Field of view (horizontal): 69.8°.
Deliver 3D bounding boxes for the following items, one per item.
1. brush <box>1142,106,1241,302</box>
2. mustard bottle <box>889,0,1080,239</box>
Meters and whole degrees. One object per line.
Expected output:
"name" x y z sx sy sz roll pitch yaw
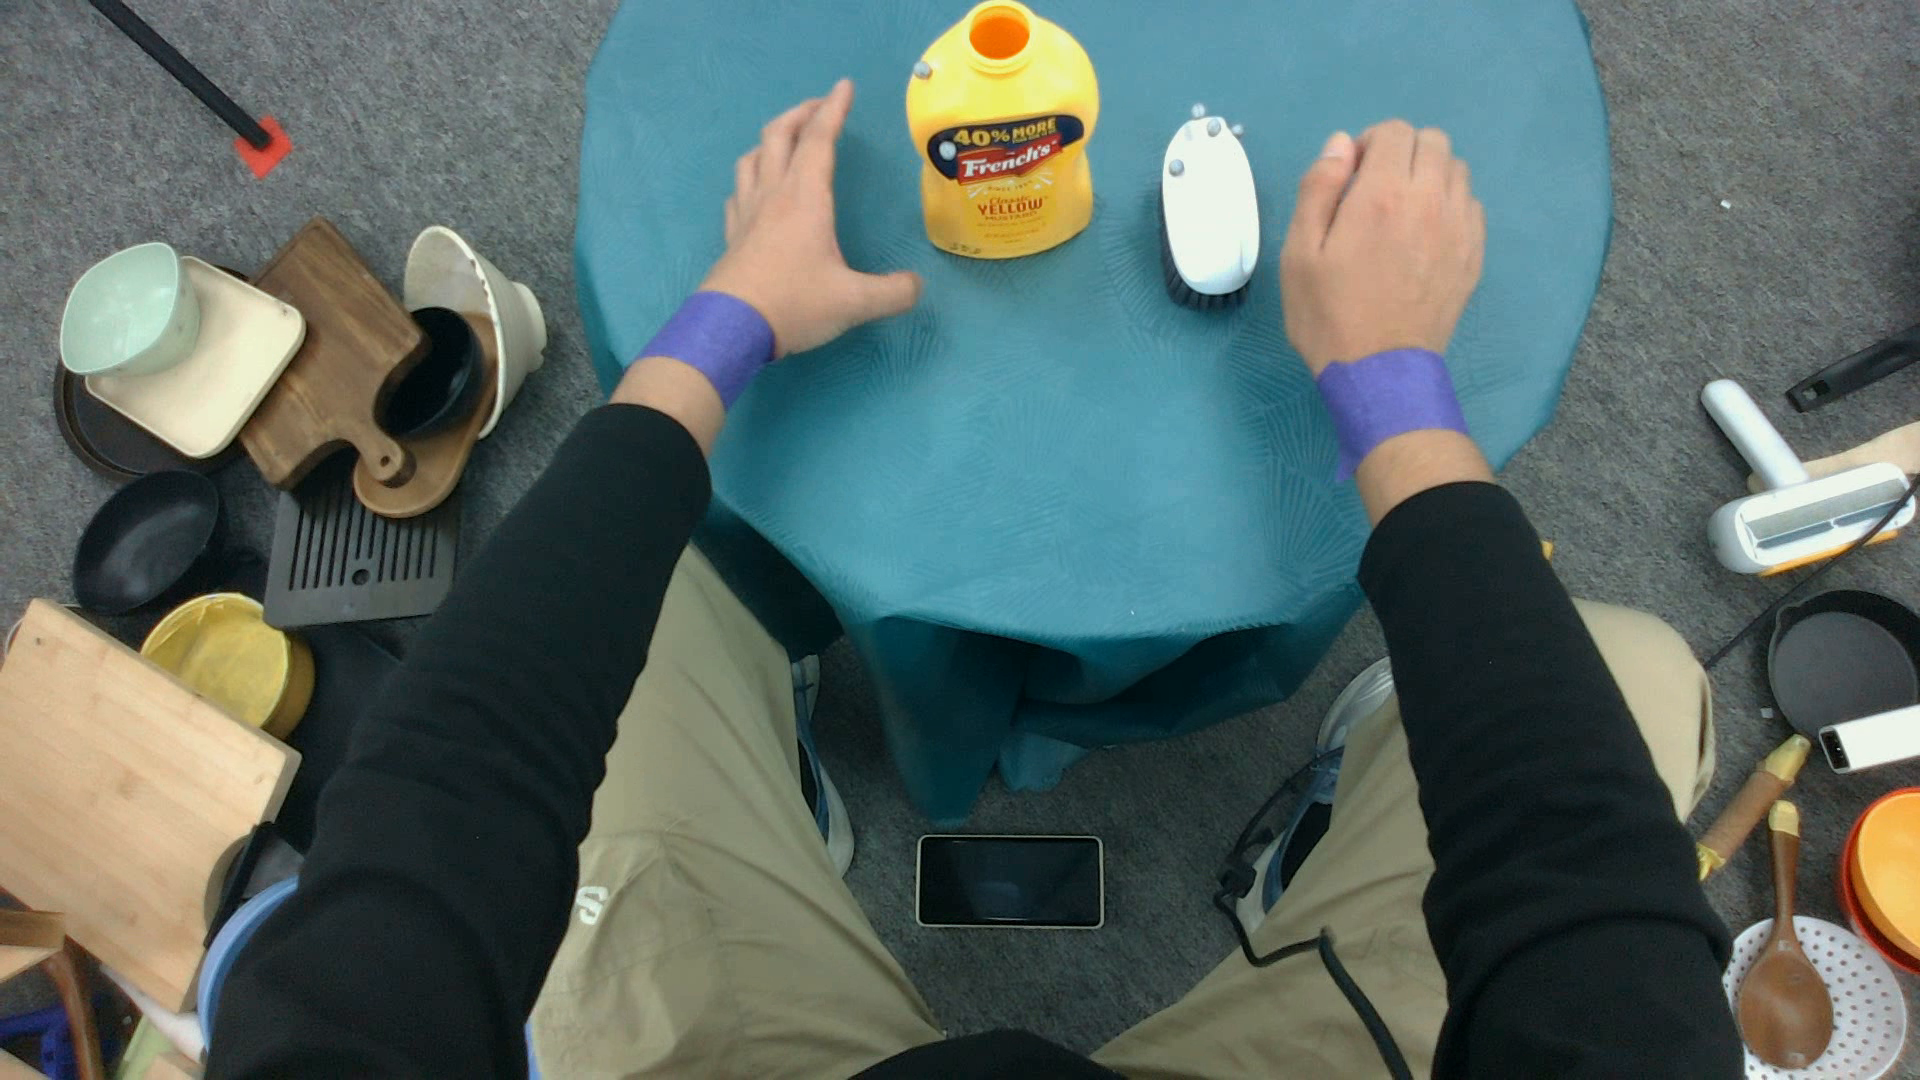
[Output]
"brush" 0.128 -0.190 0.751 0.050 0.072 0.099 -4 73 3
"mustard bottle" 0.014 -0.218 0.715 0.098 0.171 0.059 -9 78 -1
